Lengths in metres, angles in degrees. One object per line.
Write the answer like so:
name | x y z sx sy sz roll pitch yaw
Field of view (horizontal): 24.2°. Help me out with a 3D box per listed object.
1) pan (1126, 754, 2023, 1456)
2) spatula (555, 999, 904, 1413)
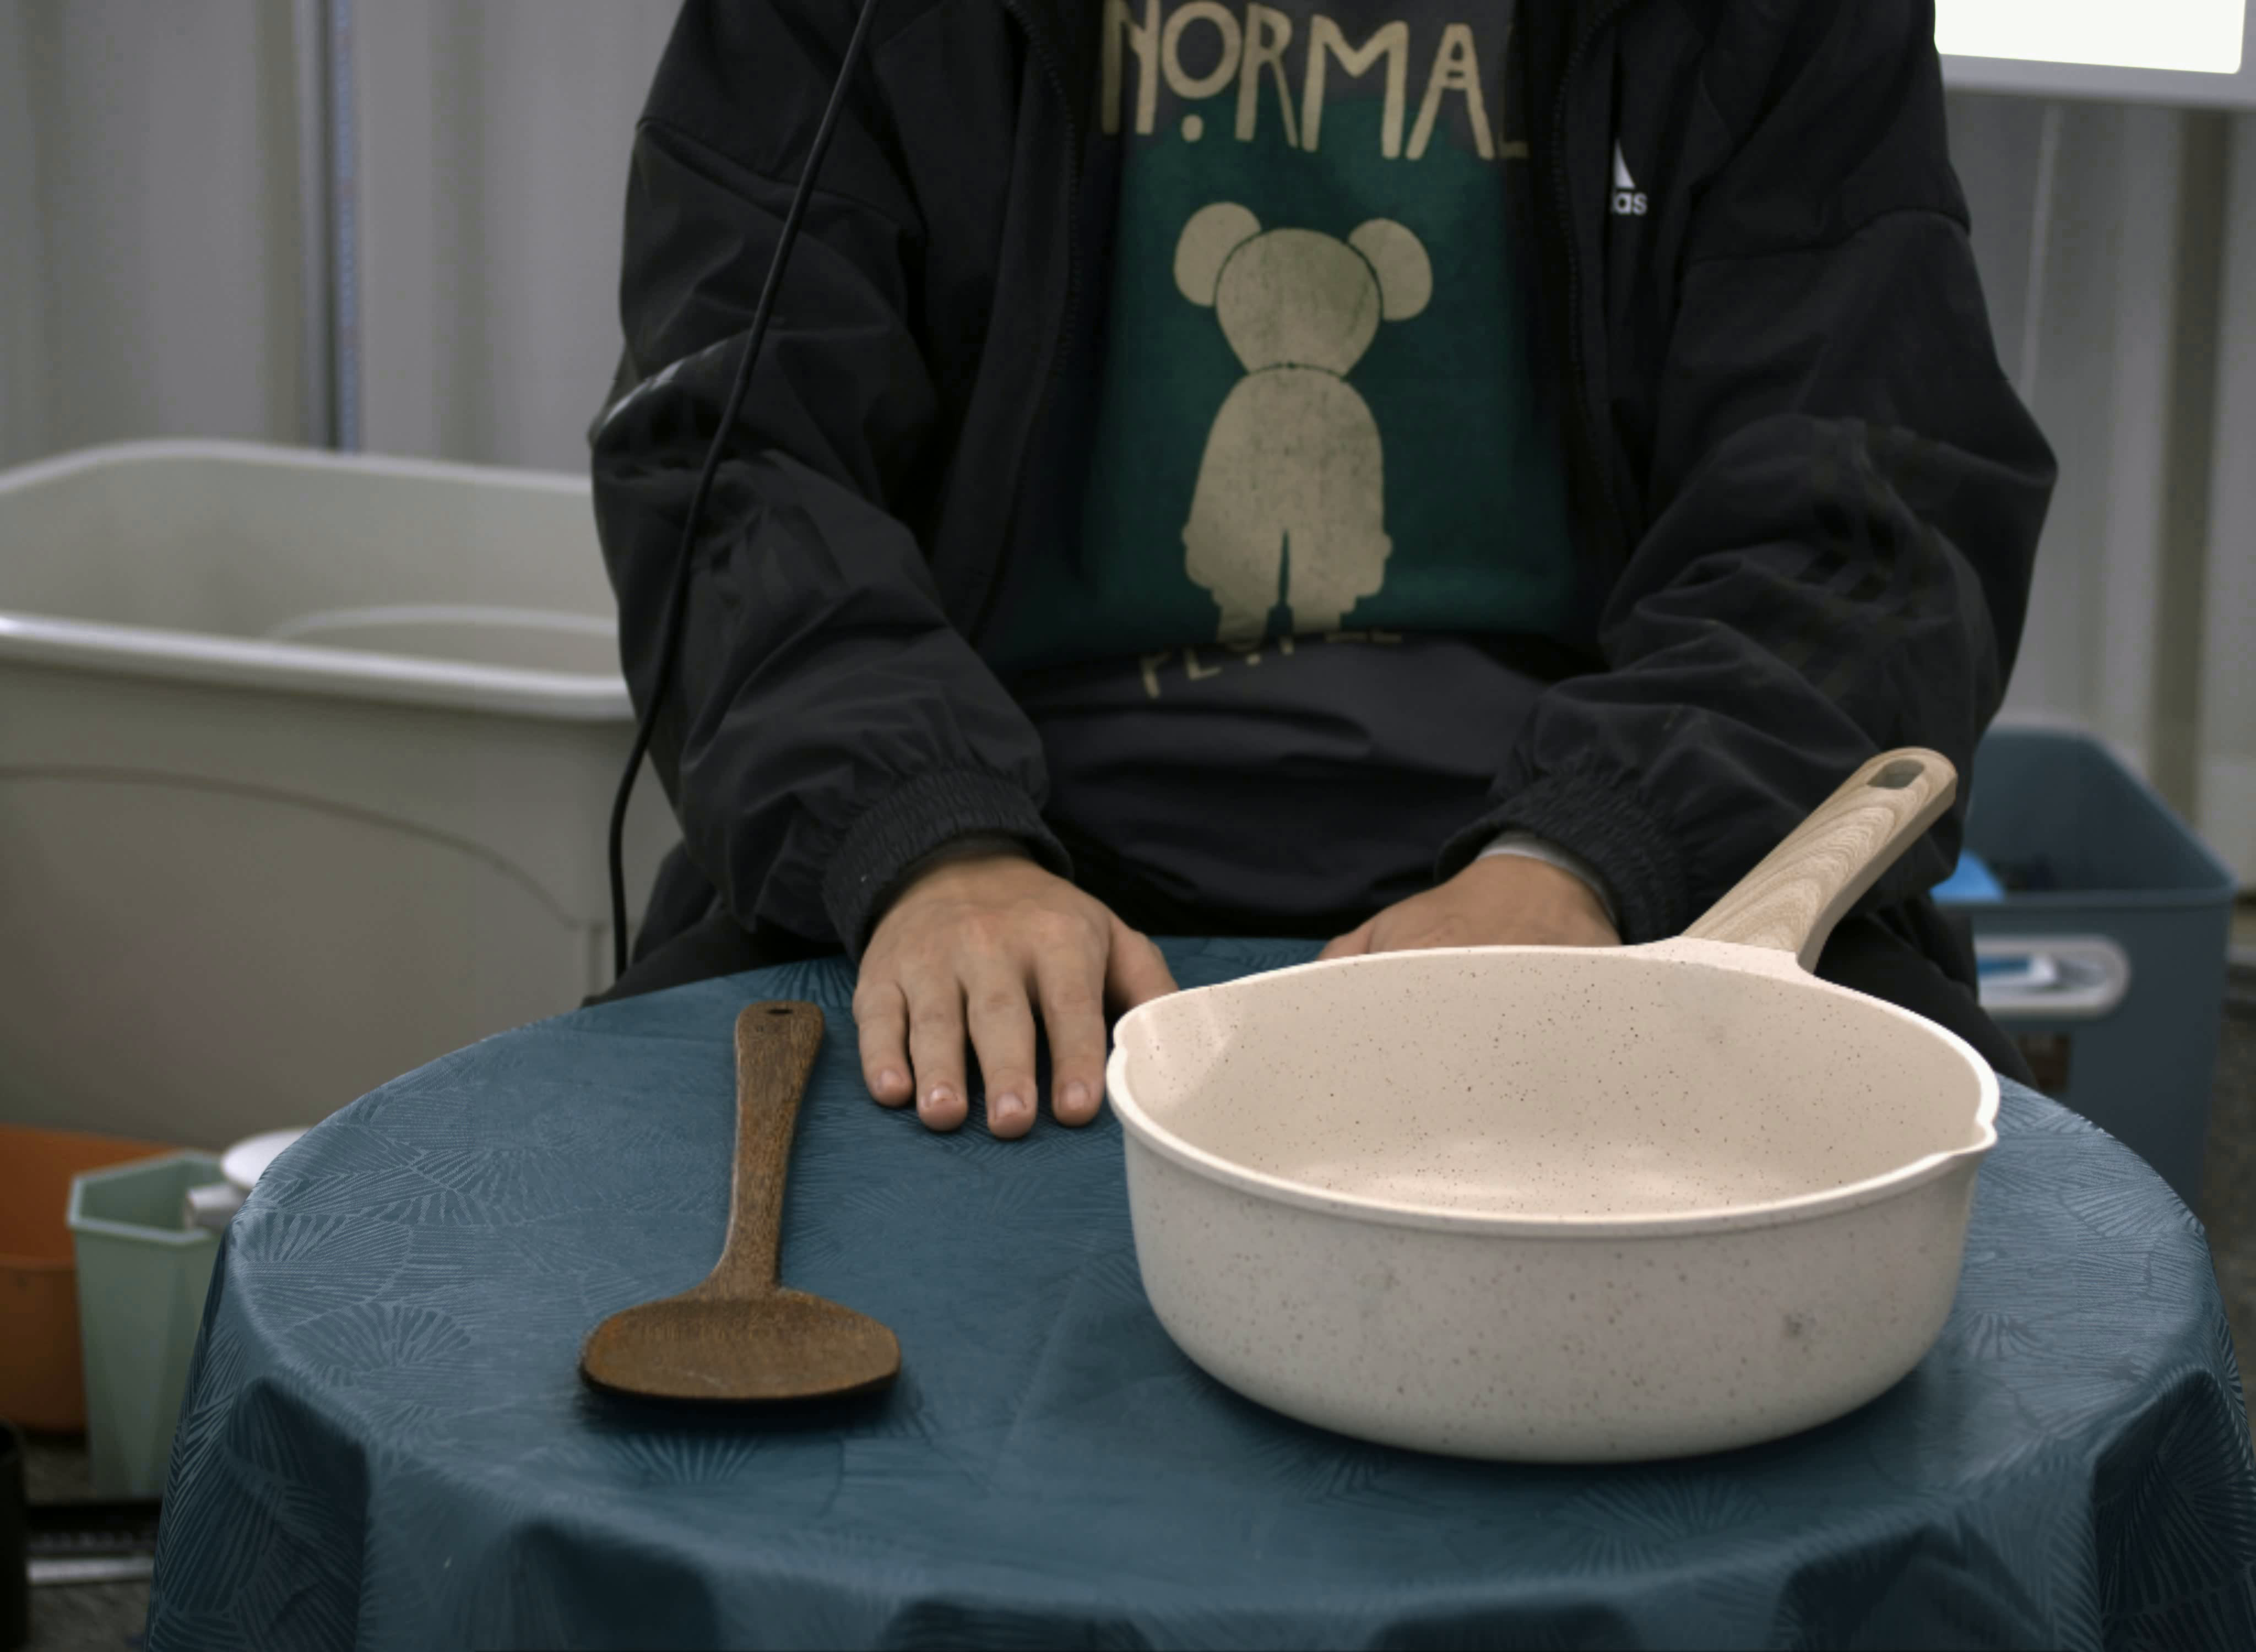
pan | 0.166 0.077 1.566 0.260 0.103 0.436 6 17 26
spatula | -0.113 0.109 1.606 0.096 0.016 0.384 1 15 -2
